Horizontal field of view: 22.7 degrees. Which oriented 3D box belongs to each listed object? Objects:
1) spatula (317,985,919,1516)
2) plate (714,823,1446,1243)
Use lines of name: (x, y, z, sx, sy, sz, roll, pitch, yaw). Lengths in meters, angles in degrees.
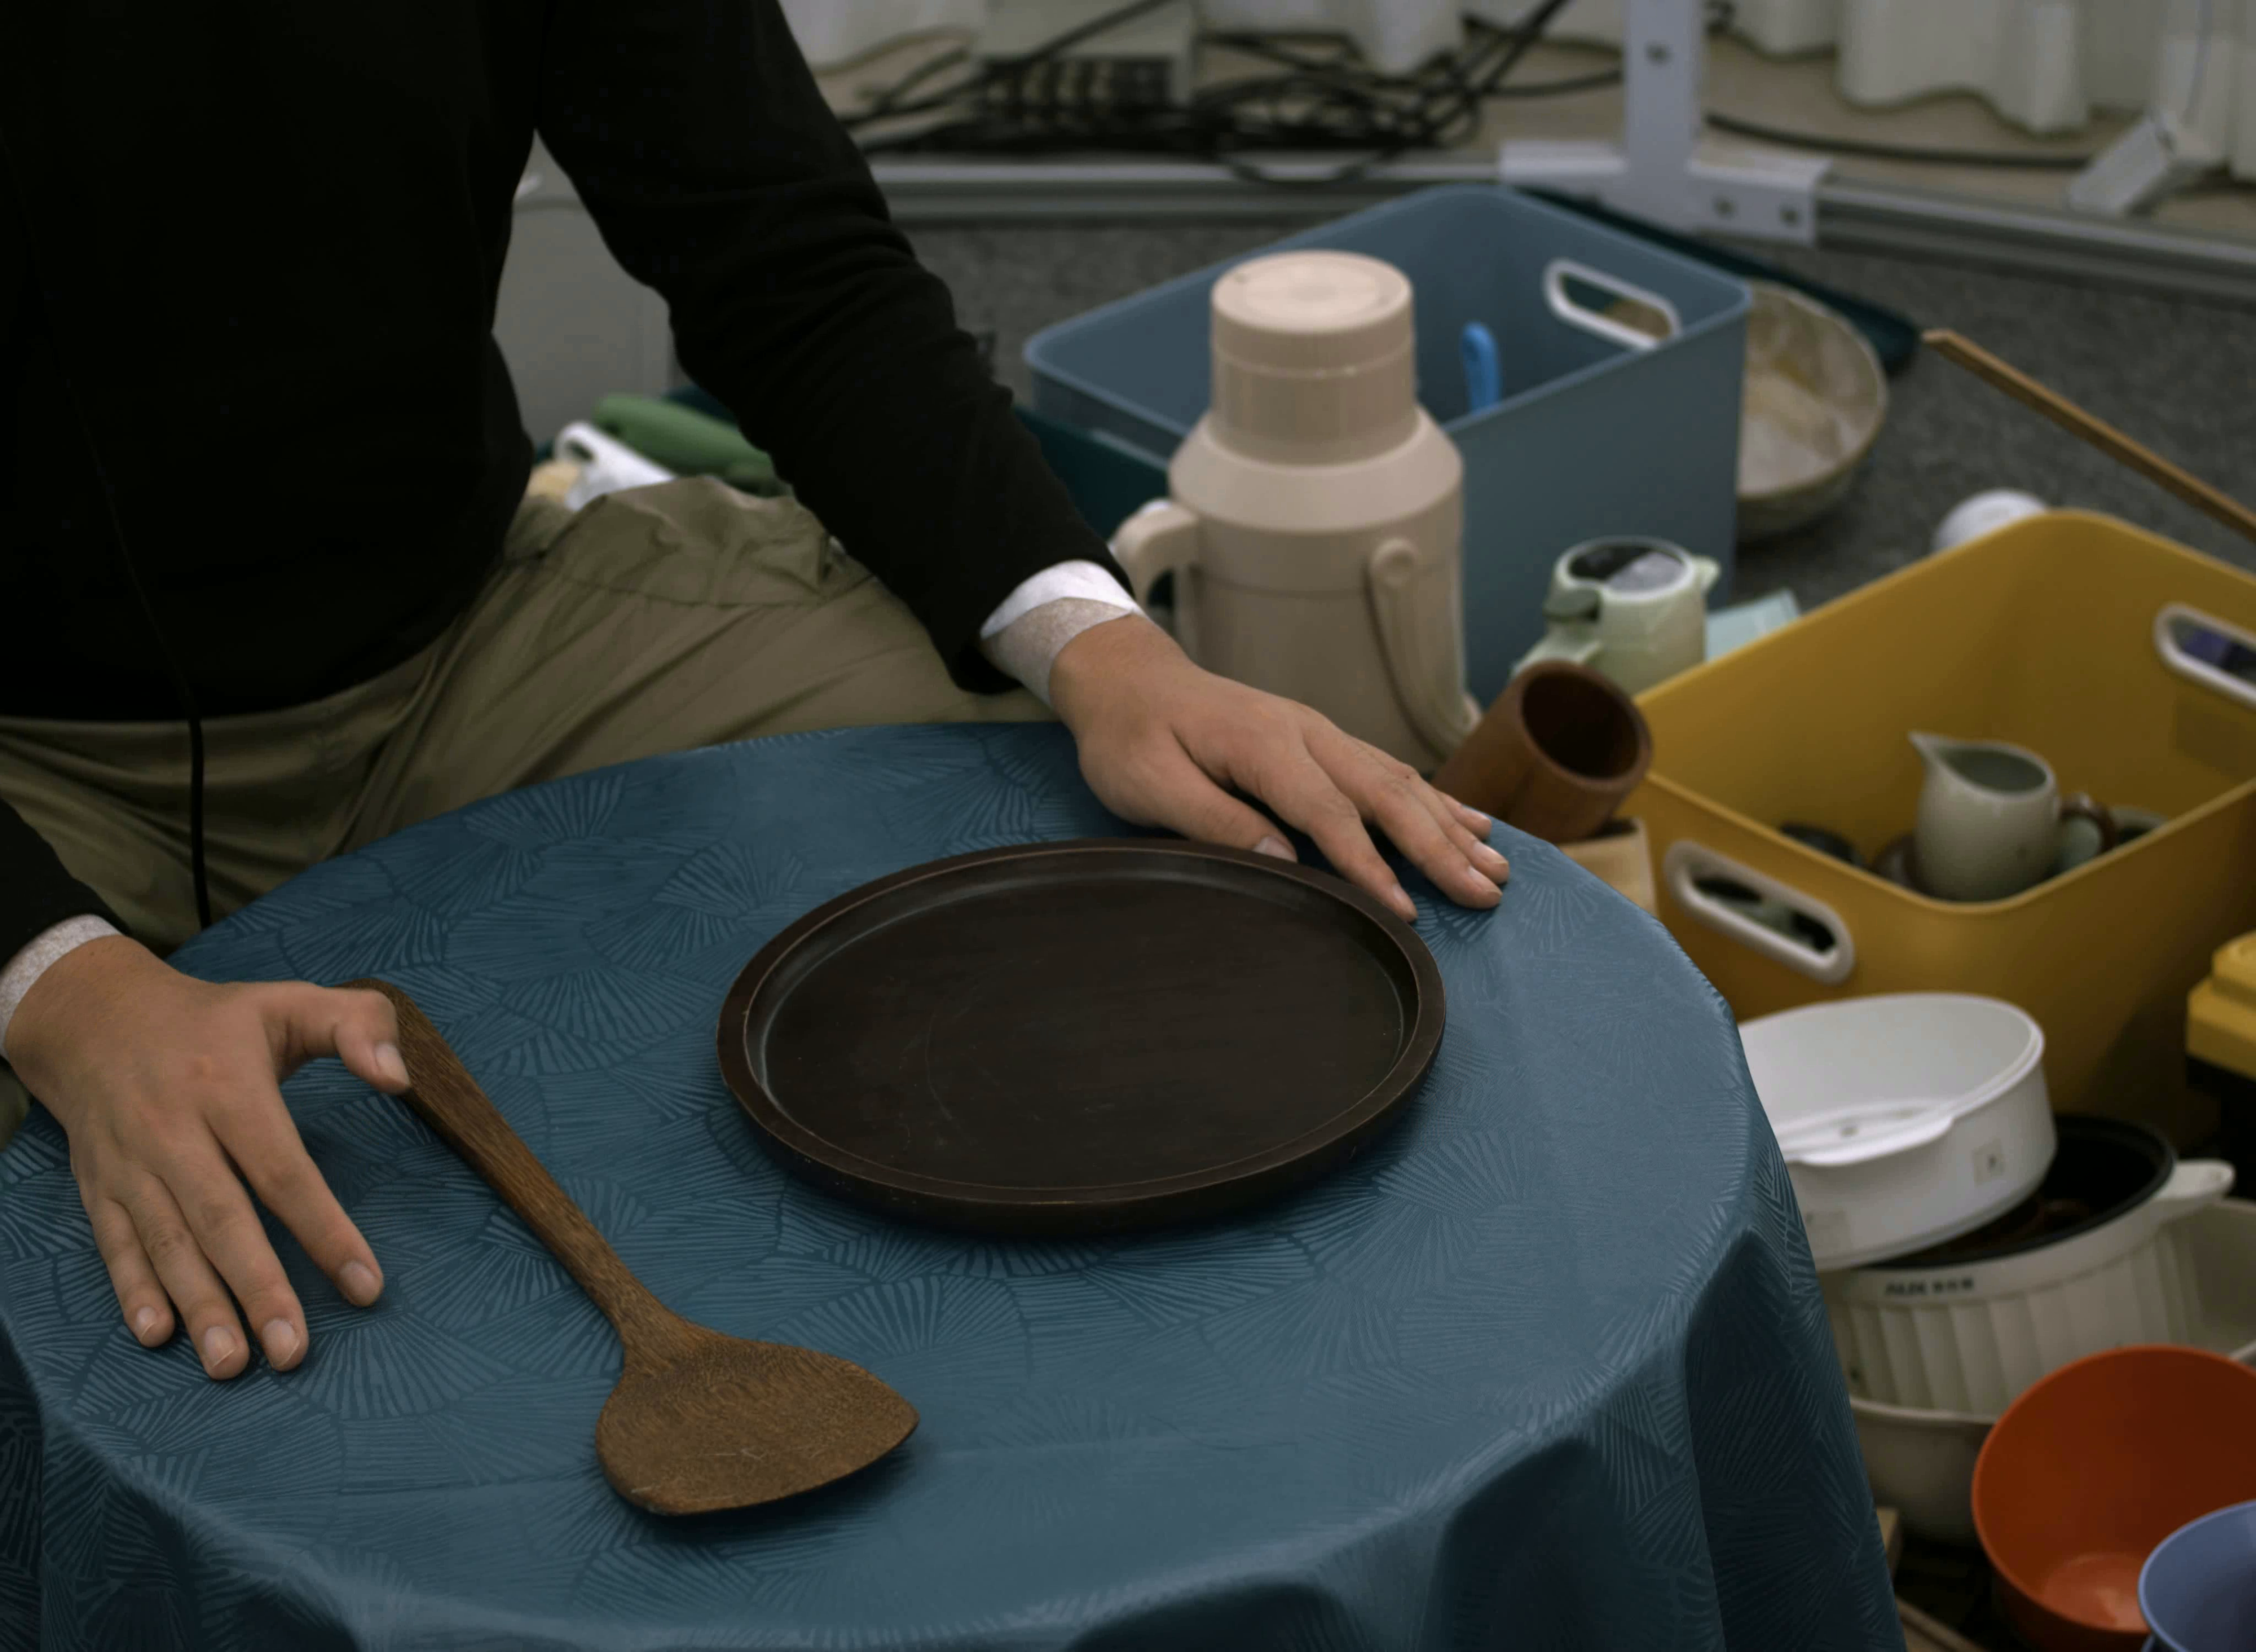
spatula: (-0.189, 0.130, 1.847, 0.096, 0.015, 0.388, -16, 30, -24)
plate: (-0.016, 0.072, 1.932, 0.253, 0.029, 0.259, -3, 28, 2)
